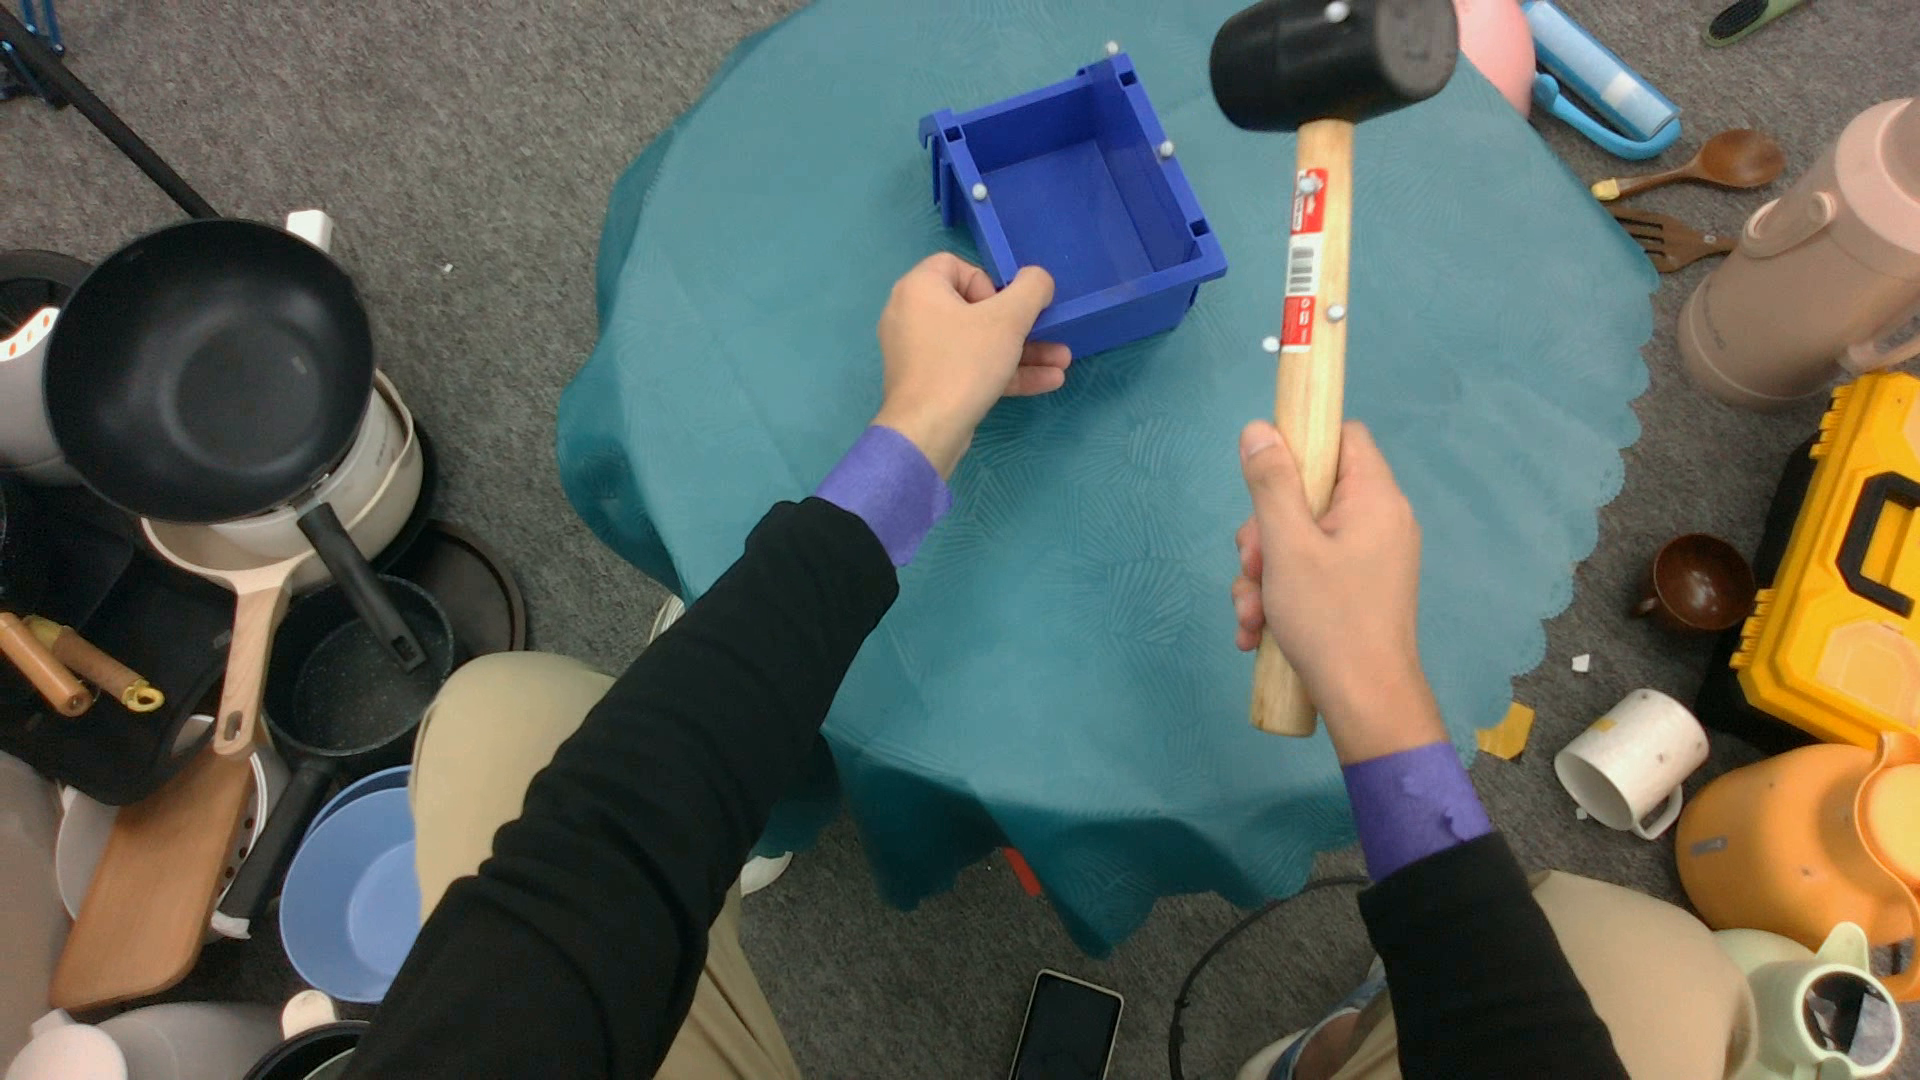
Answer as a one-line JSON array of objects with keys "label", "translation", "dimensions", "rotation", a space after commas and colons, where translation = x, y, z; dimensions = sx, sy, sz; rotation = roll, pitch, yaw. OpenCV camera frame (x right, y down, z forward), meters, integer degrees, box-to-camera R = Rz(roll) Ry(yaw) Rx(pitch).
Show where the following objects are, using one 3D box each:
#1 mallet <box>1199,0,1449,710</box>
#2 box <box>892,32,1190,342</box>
[{"label": "mallet", "translation": [0.146, -0.092, 0.625], "dimensions": [0.064, 0.101, 0.339], "rotation": [5, 94, -37]}, {"label": "box", "translation": [0.040, -0.212, 0.811], "dimensions": [0.124, 0.081, 0.179], "rotation": [-17, 74, -7]}]
